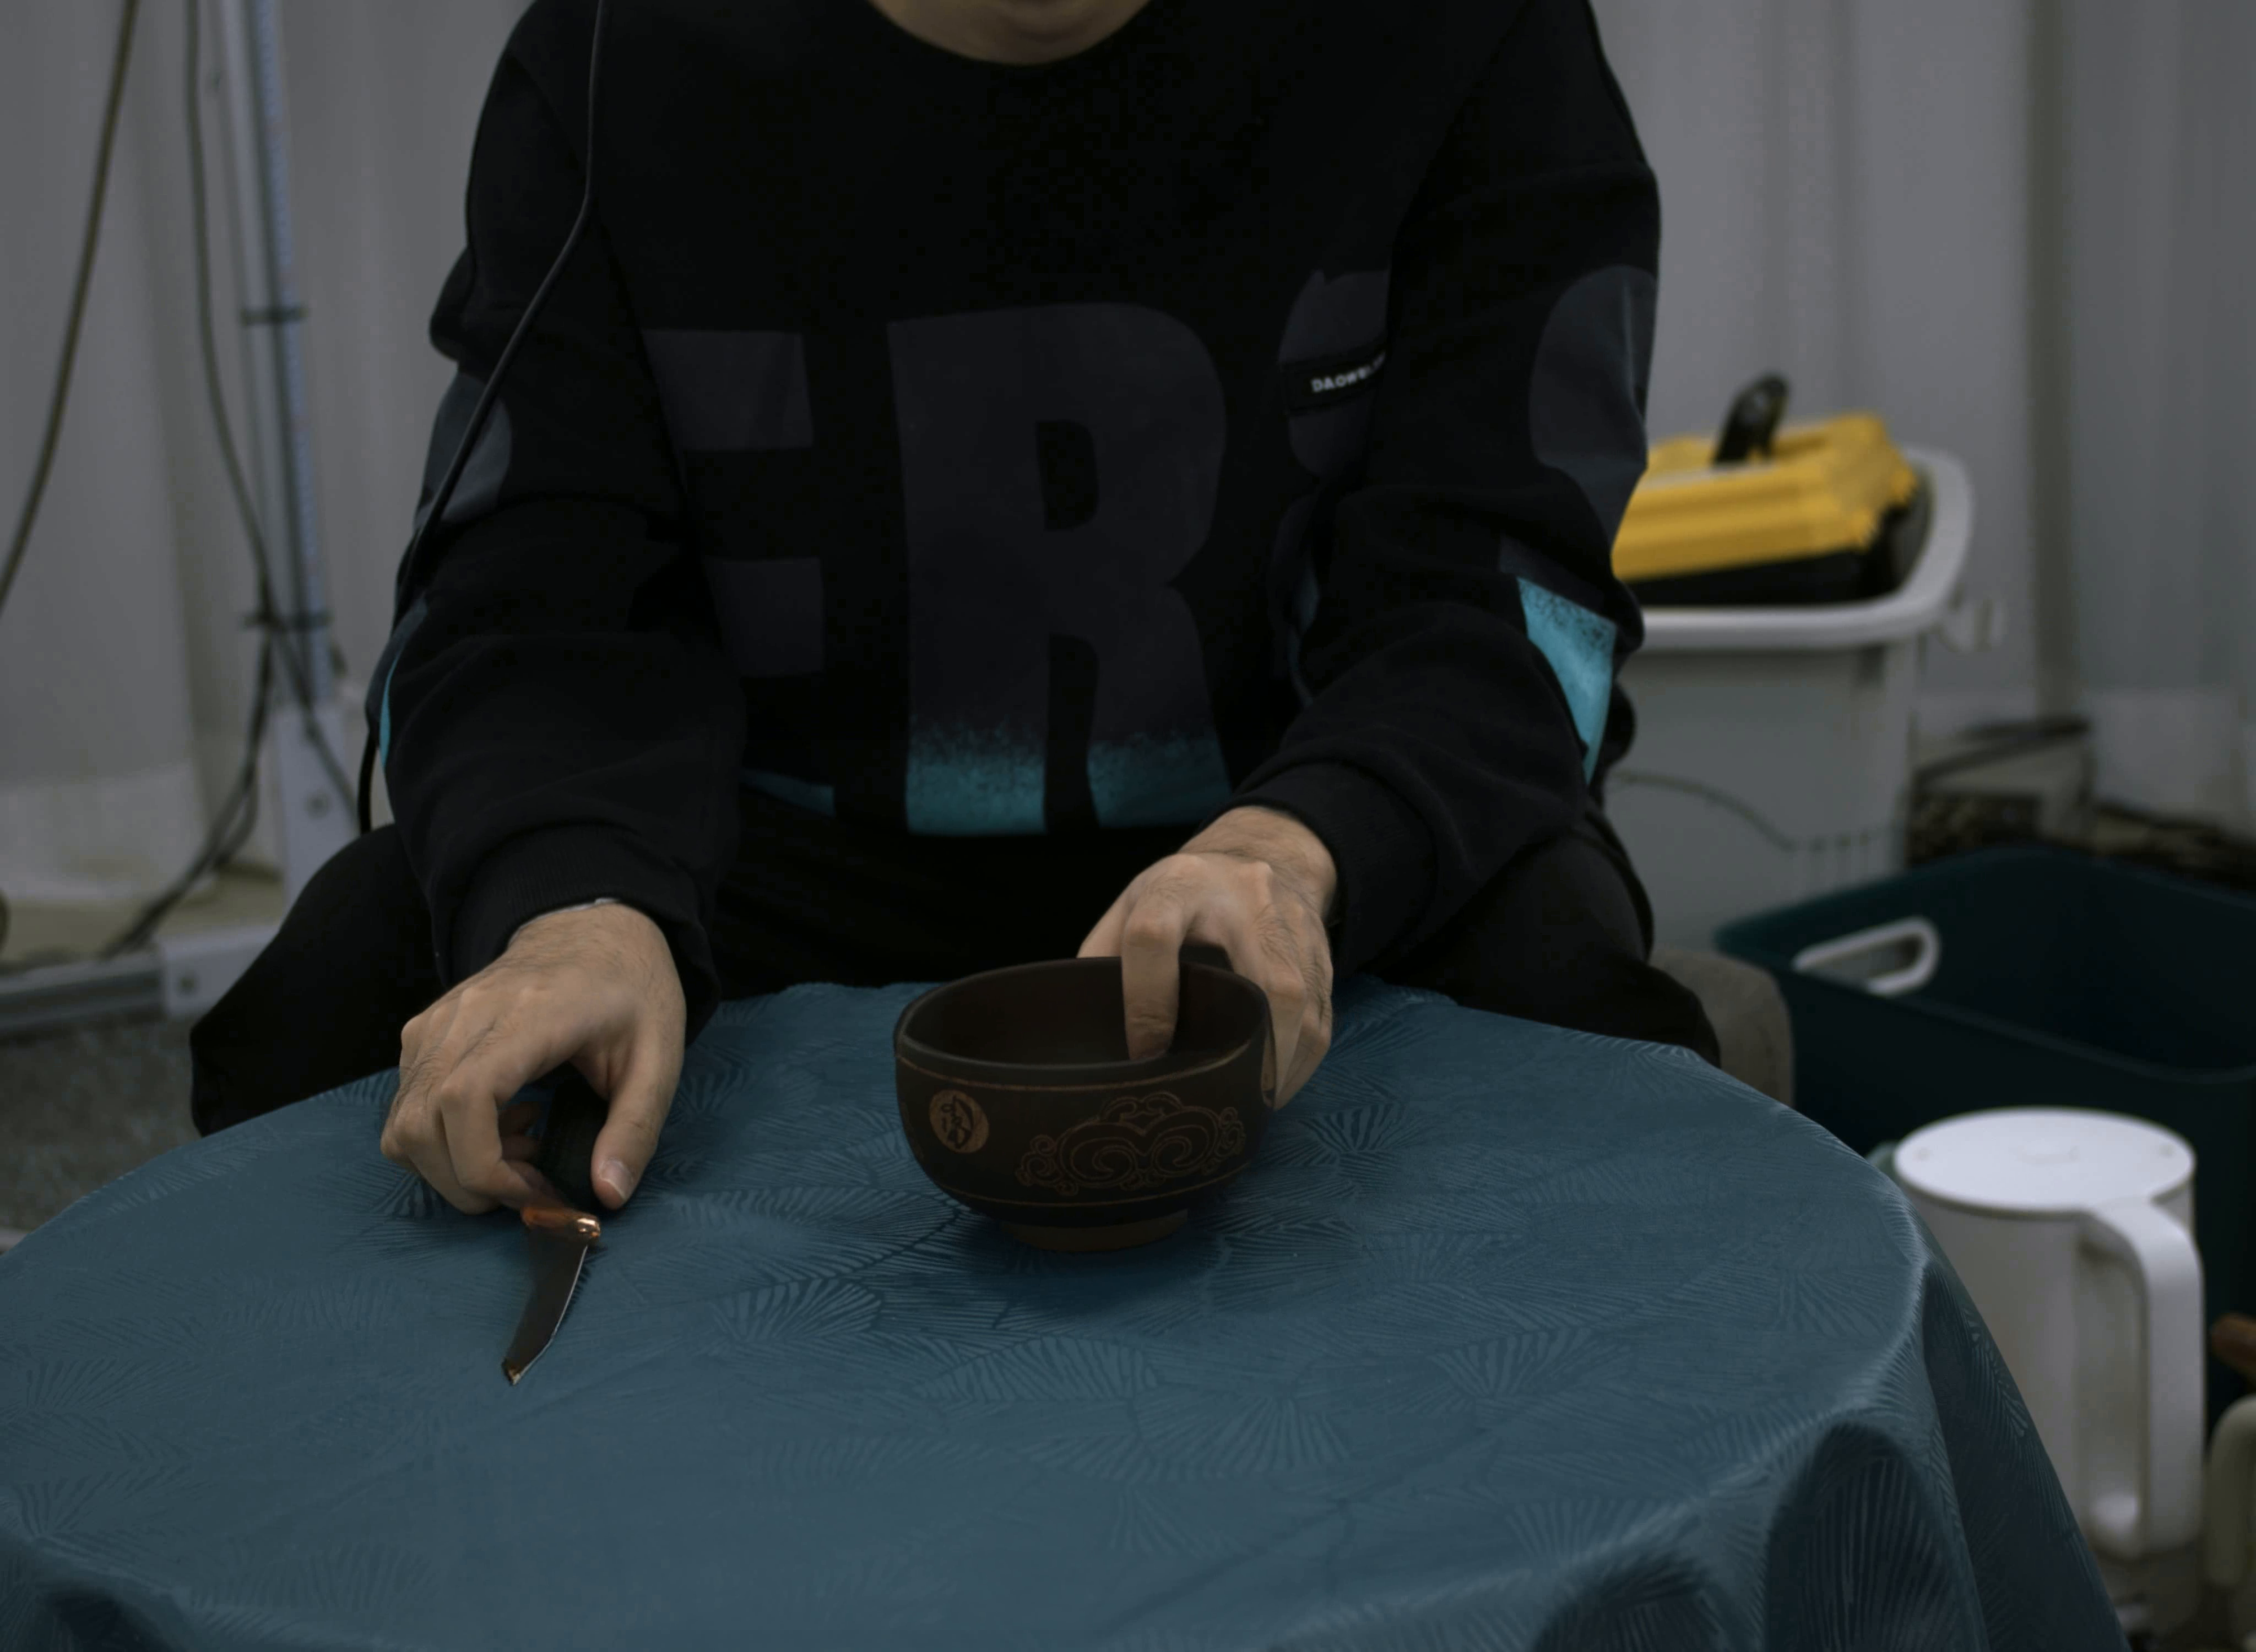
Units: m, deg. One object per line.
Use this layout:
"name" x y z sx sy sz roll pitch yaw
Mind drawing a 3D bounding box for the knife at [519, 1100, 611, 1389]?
"knife" -0.174 0.127 1.680 0.026 0.017 0.227 4 17 -3

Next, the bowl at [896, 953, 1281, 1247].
"bowl" -0.012 0.087 1.675 0.117 0.069 0.119 -1 14 0
